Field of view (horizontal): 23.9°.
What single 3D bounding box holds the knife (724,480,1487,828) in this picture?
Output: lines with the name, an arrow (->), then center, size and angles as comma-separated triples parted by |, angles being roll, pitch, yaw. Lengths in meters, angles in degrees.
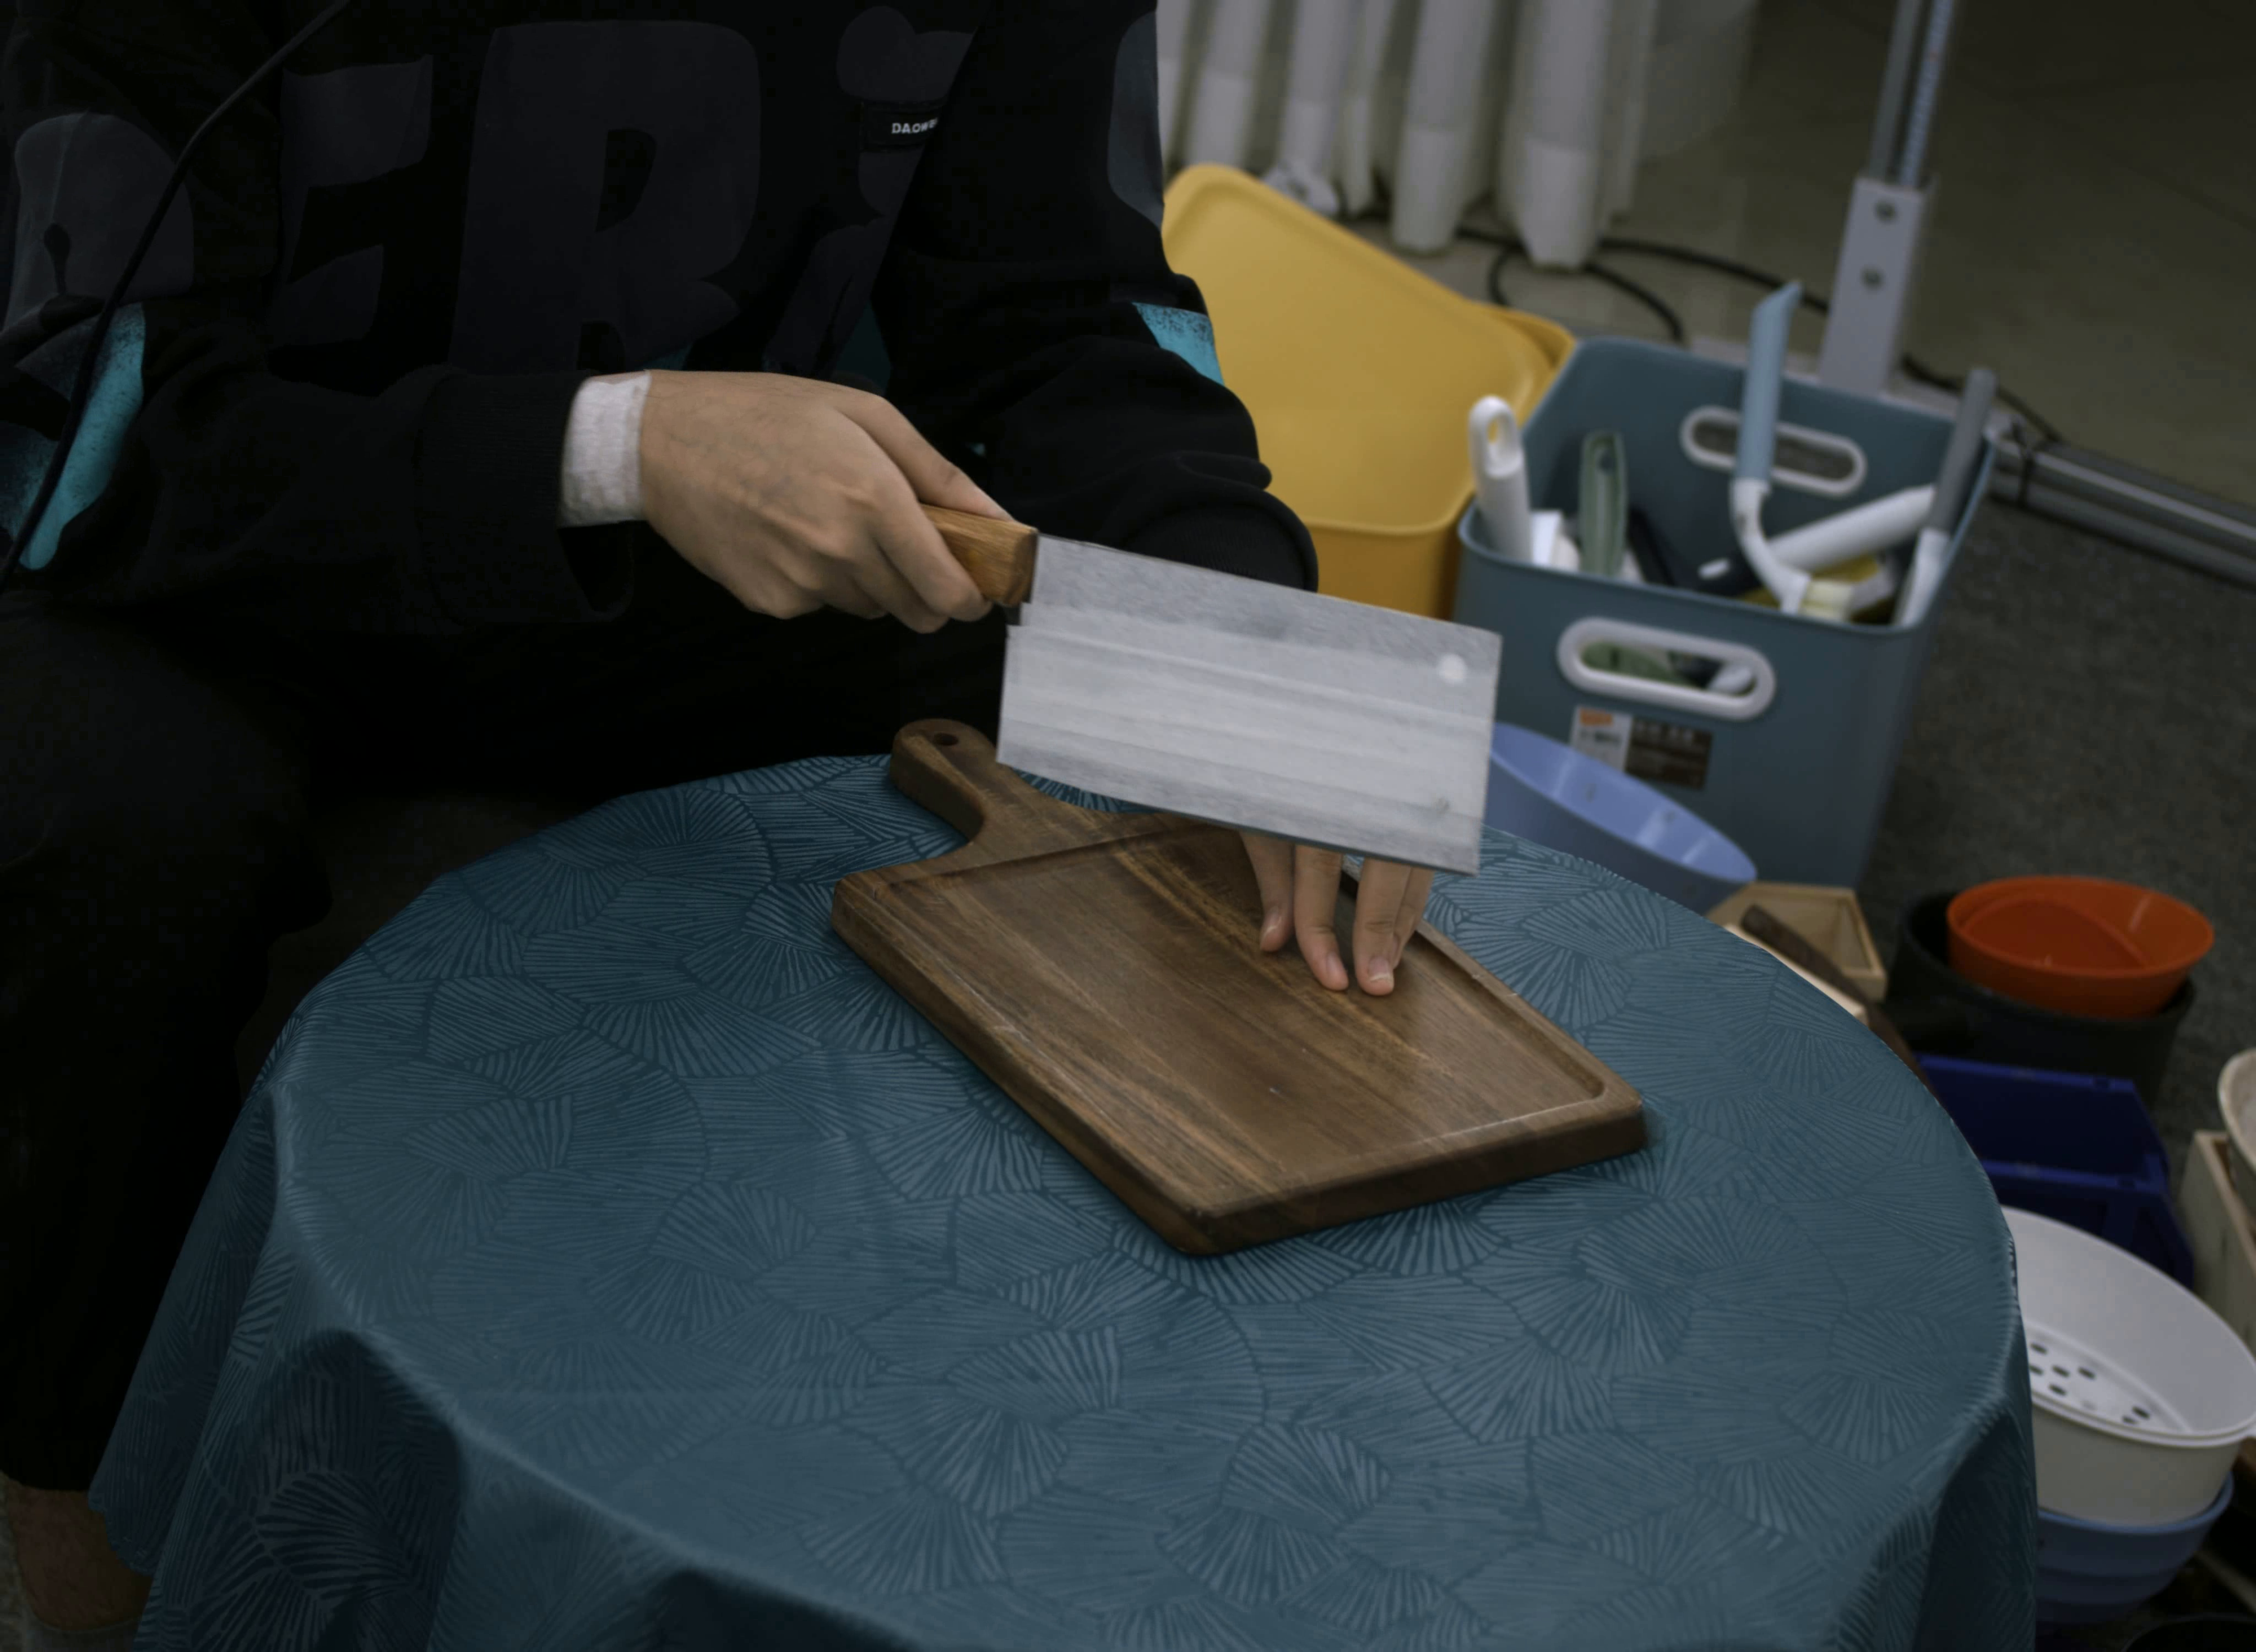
knife -> -0.013, -0.059, 1.886 | 0.307, 0.093, 0.021 | 13, 20, 25

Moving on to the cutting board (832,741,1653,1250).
cutting board -> 0.012, 0.048, 1.938 | 0.200, 0.023, 0.355 | -10, 29, -31
